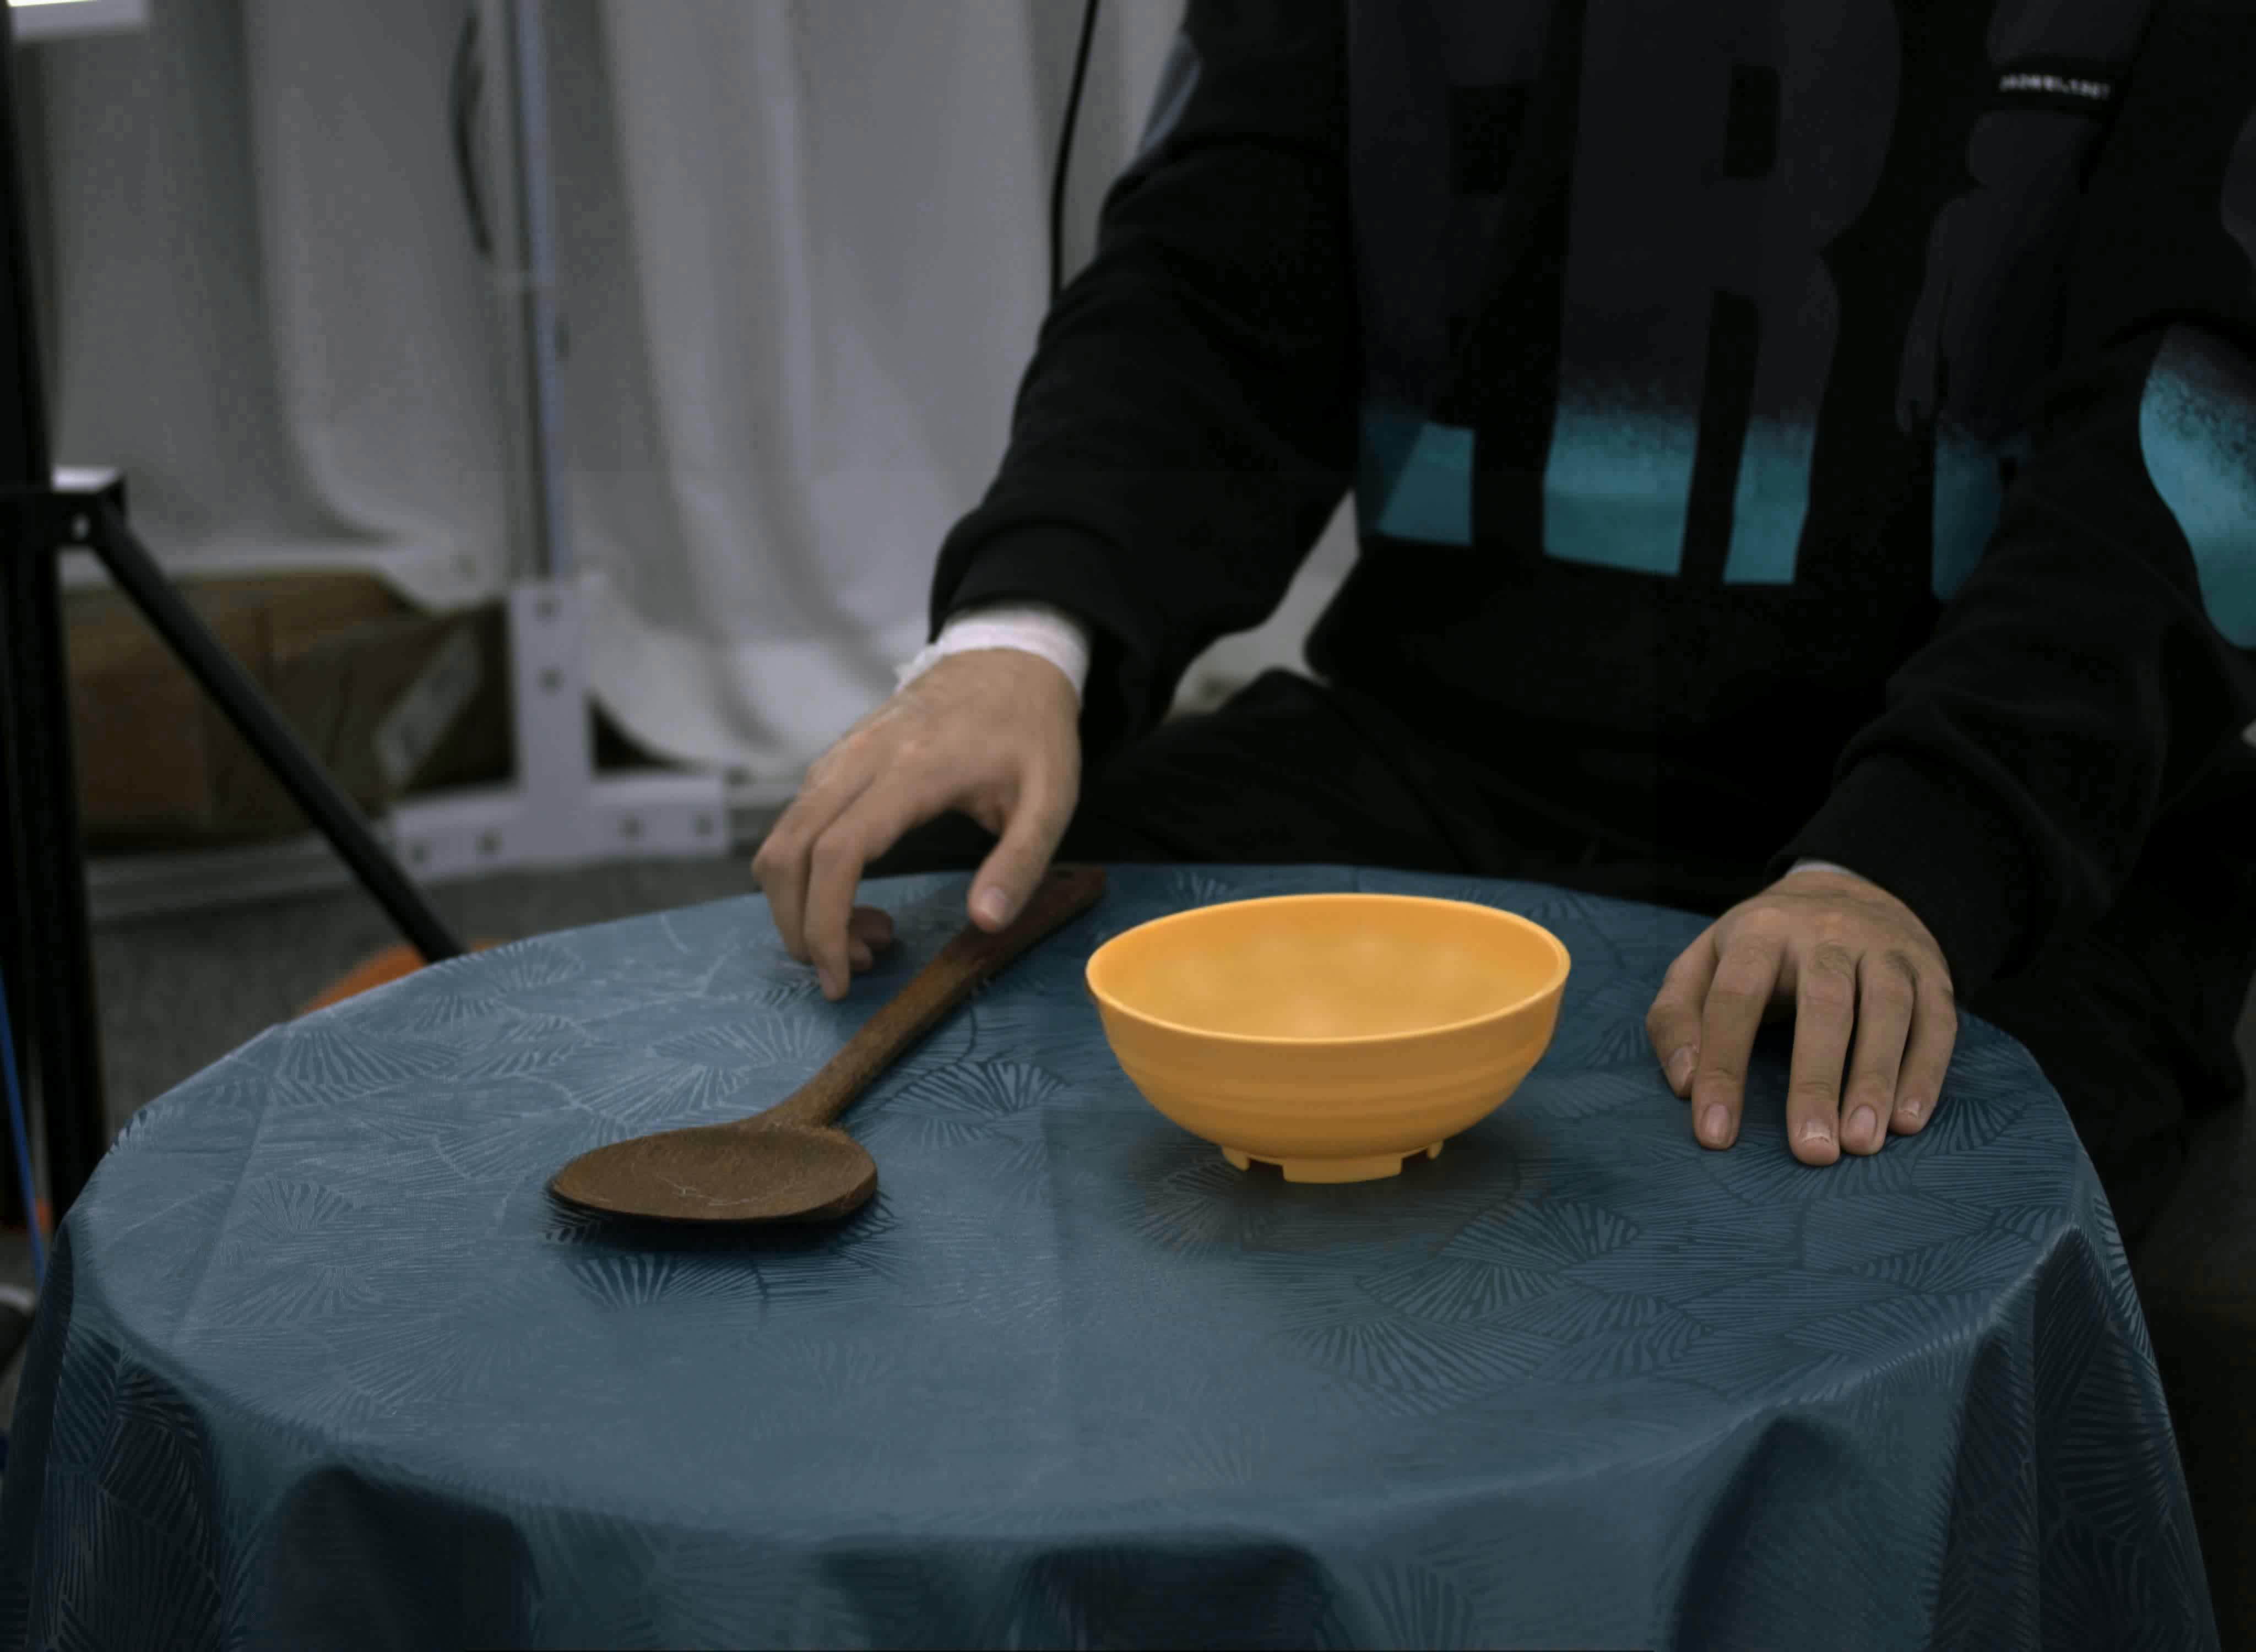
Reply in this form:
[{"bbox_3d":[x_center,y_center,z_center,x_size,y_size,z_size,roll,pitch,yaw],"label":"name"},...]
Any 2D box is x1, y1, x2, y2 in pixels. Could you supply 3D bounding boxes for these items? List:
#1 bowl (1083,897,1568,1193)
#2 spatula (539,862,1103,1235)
[{"bbox_3d":[0.058,0.071,1.582,0.144,0.060,0.146,0,16,-1],"label":"bowl"},{"bbox_3d":[-0.075,0.065,1.697,0.097,0.016,0.382,3,17,18],"label":"spatula"}]
